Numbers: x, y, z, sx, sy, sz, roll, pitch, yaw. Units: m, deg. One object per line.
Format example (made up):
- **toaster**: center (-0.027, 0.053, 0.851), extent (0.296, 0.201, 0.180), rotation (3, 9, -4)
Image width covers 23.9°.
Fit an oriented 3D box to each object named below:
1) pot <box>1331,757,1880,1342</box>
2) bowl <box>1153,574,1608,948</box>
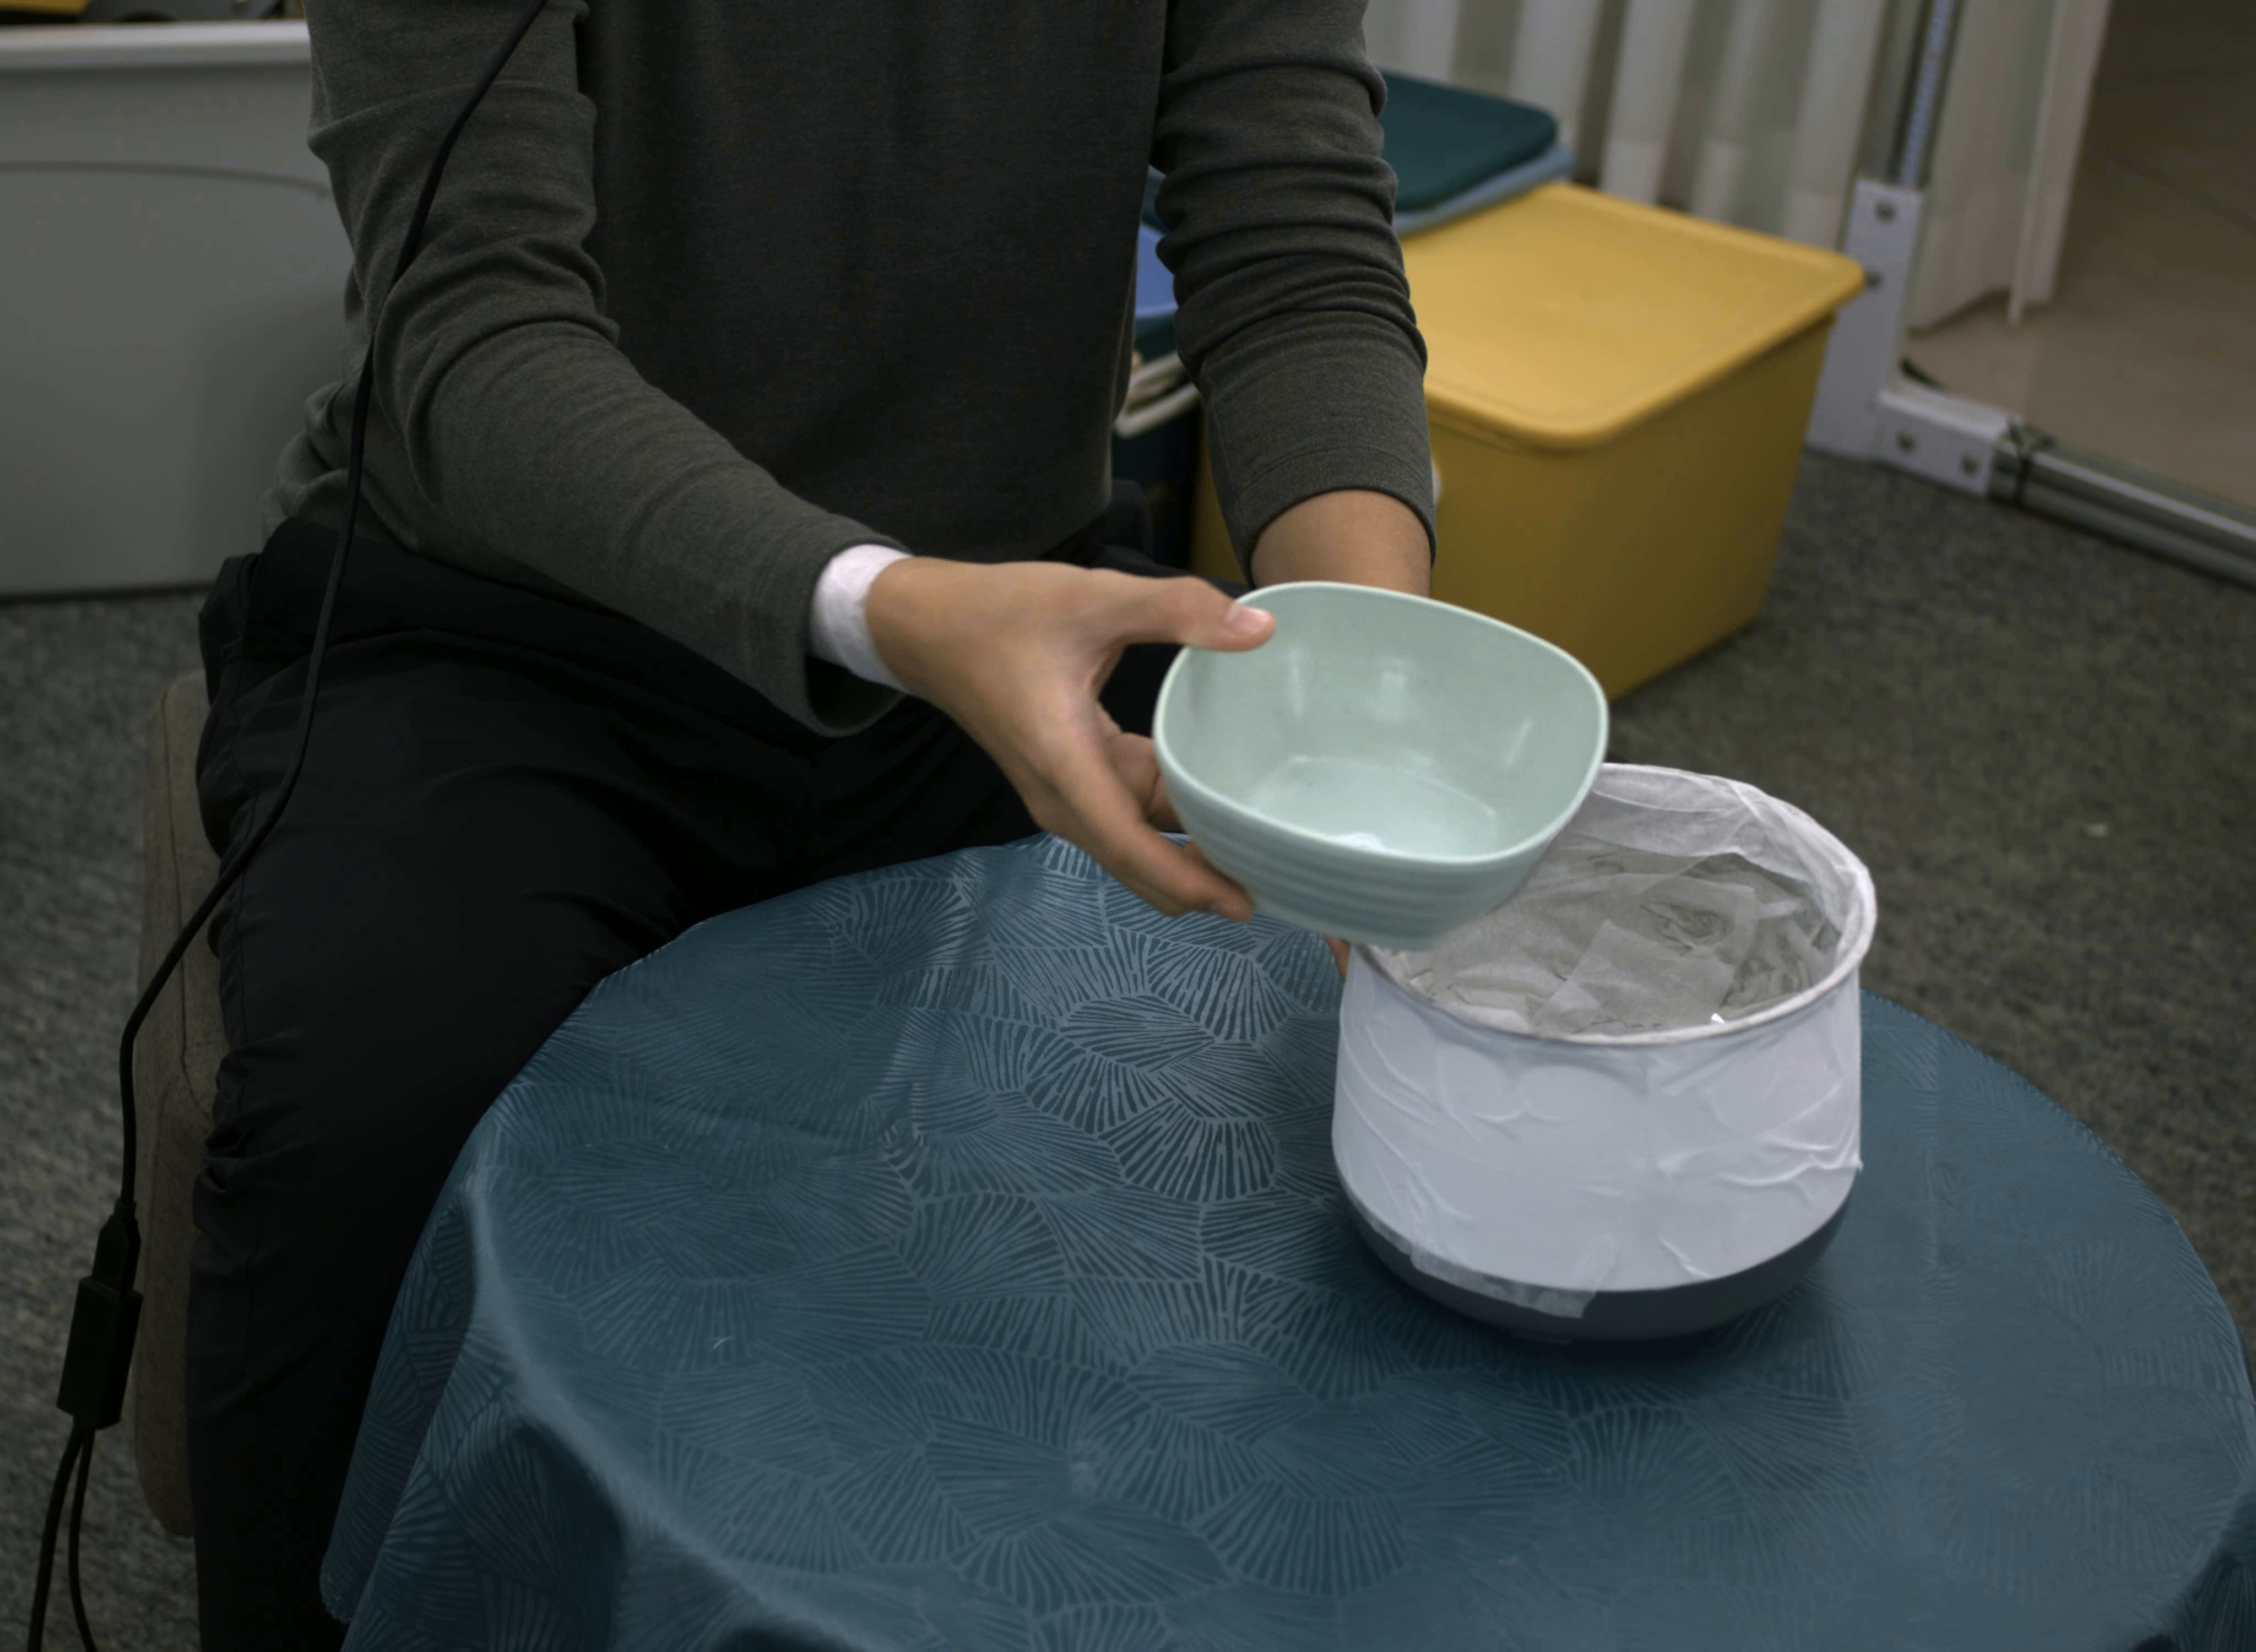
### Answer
- **pot**: center (0.143, 0.064, 1.789), extent (0.178, 0.136, 0.236), rotation (-15, 33, -24)
- **bowl**: center (0.076, -0.013, 1.680), extent (0.151, 0.058, 0.152), rotation (5, 37, -4)
